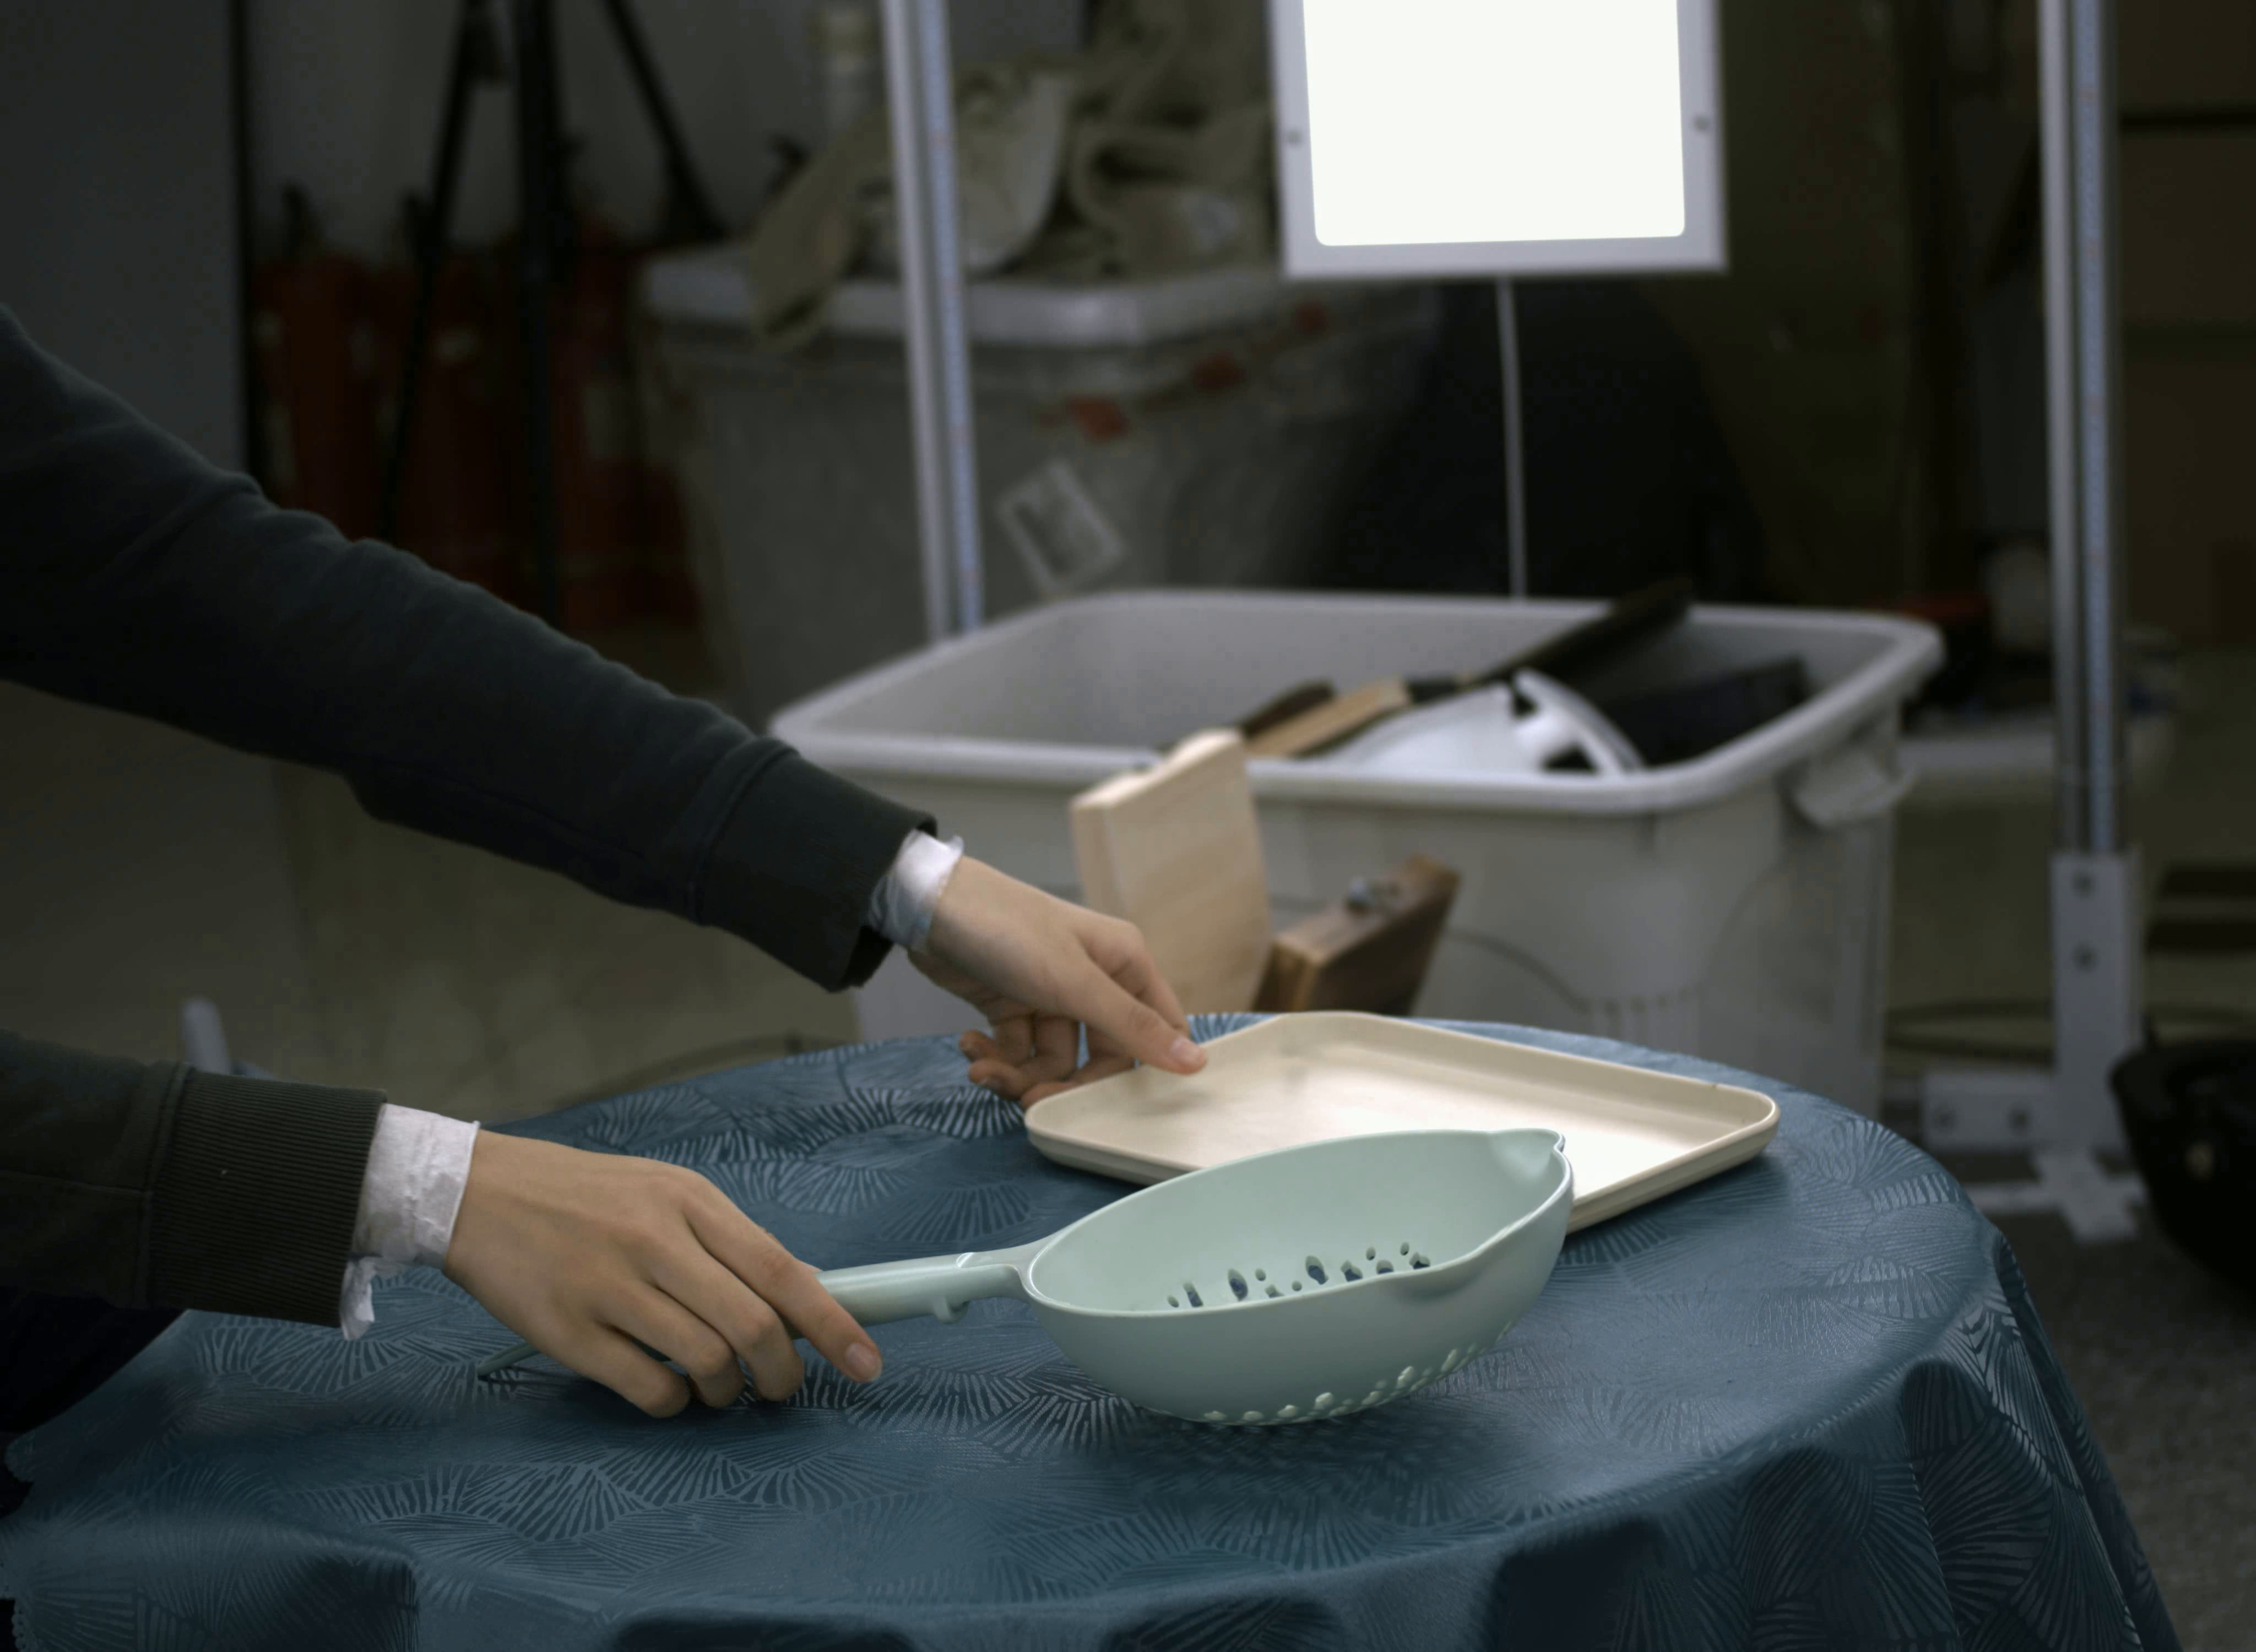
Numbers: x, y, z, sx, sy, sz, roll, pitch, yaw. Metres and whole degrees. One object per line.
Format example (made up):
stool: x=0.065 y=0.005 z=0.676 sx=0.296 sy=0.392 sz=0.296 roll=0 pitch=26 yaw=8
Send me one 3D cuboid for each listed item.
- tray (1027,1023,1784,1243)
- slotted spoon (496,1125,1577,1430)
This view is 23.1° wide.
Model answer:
tray: x=0.095 y=0.107 z=1.908 sx=0.167 sy=0.017 sz=0.245 roll=-17 pitch=17 yaw=-41
slotted spoon: x=-0.036 y=0.144 z=1.704 sx=0.363 sy=0.075 sz=0.166 roll=0 pitch=14 yaw=20
